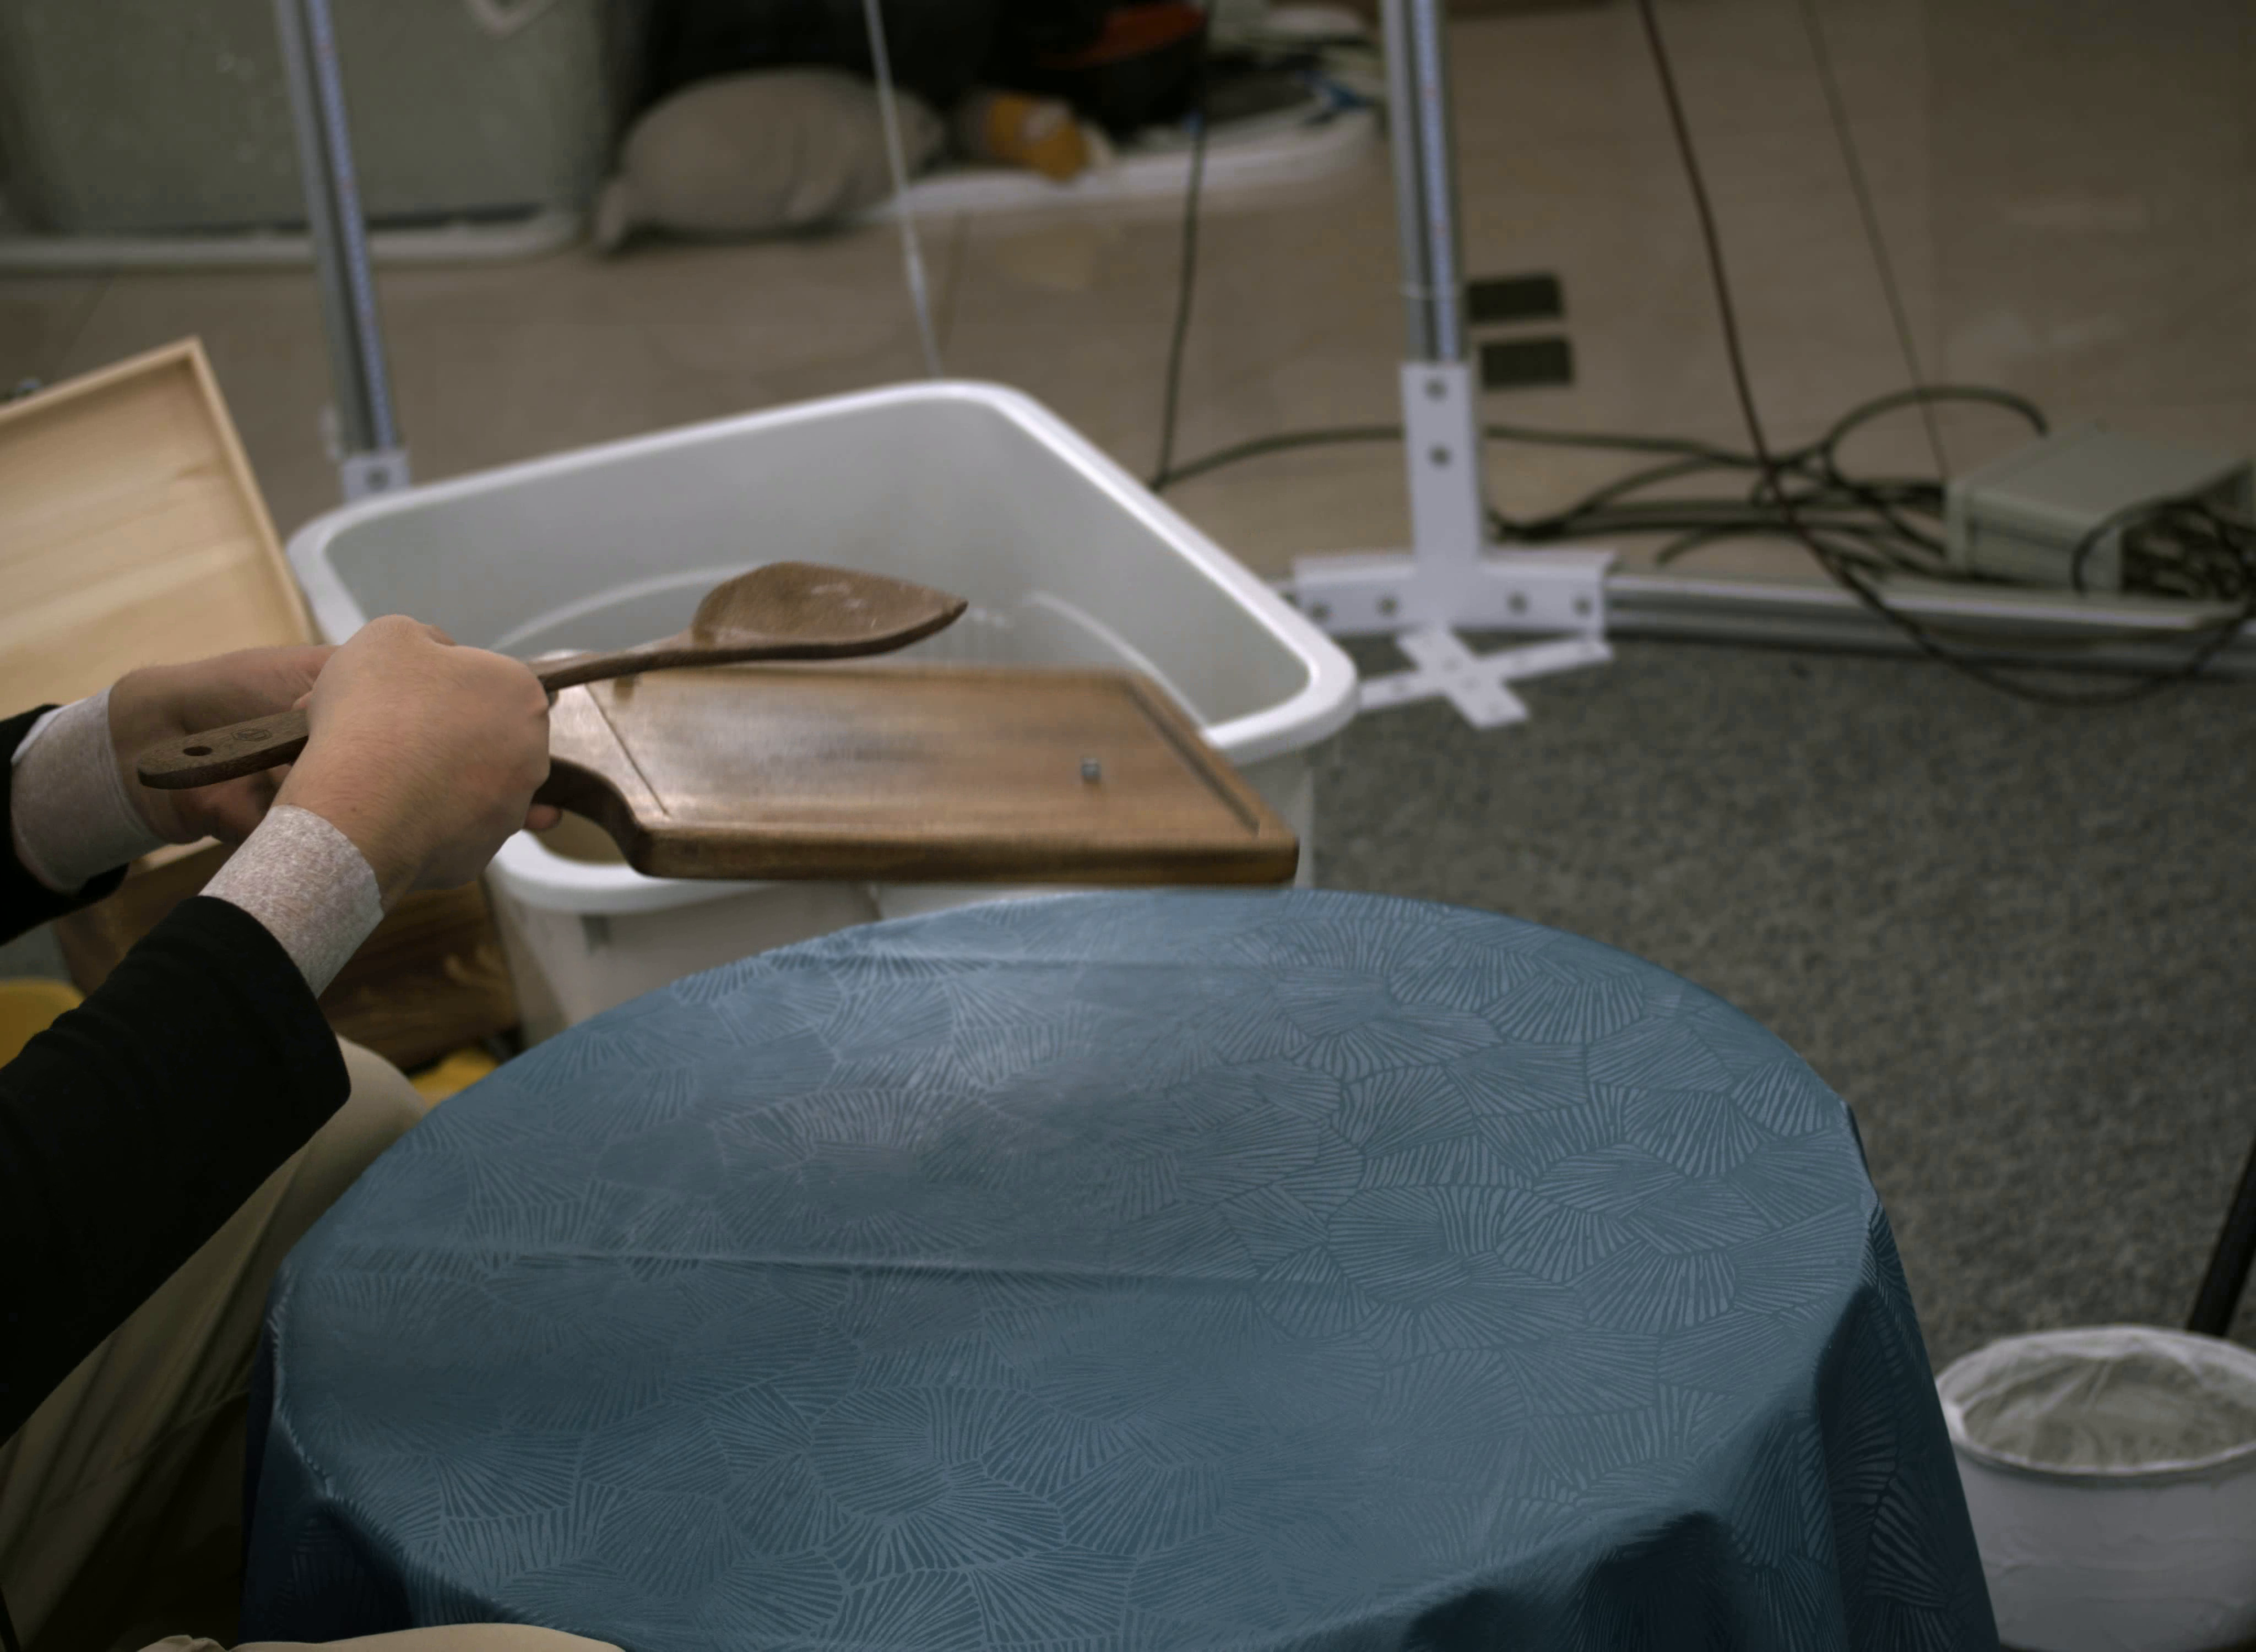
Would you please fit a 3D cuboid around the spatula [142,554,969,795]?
[{"bbox_3d":[-0.201,-0.055,1.985,0.095,0.016,0.383,15,20,34],"label":"spatula"}]

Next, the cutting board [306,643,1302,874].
[{"bbox_3d":[-0.130,-0.028,2.095,0.352,0.023,0.198,0,22,-19],"label":"cutting board"}]
